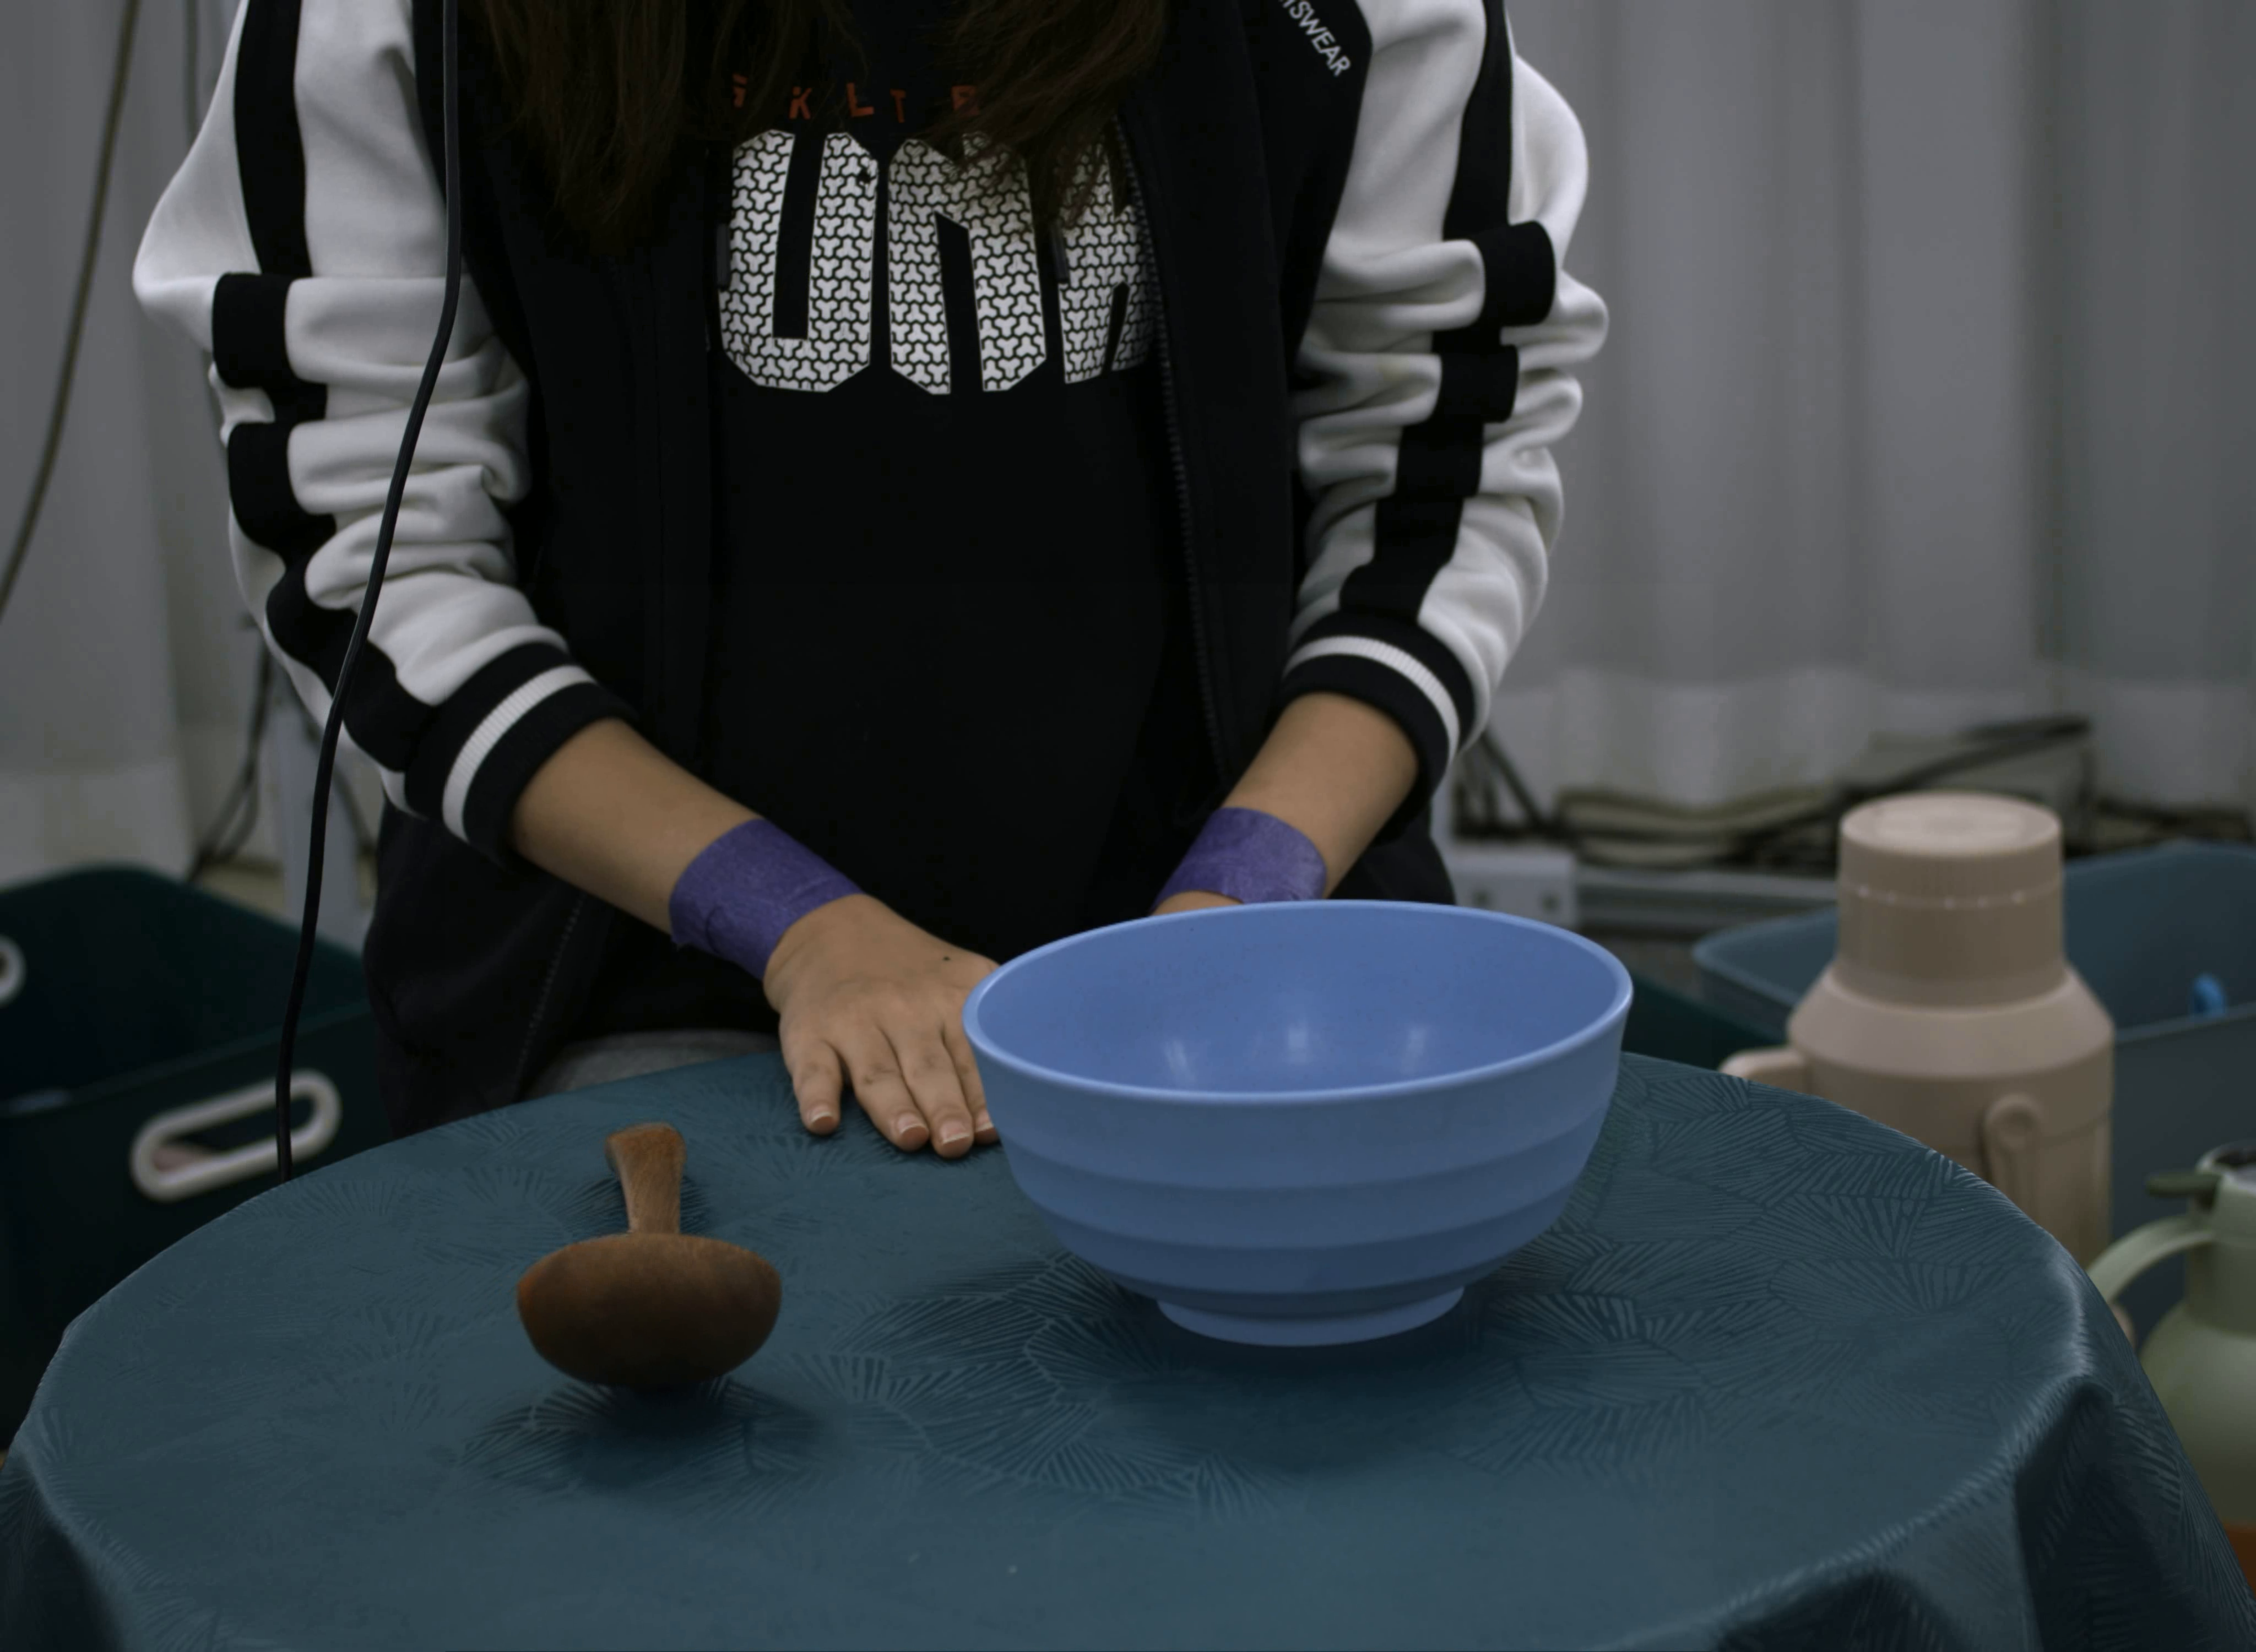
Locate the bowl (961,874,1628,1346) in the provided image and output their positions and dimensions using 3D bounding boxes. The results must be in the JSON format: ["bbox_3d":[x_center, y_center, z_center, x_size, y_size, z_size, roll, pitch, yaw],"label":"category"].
[{"bbox_3d":[0.054,0.091,1.611,0.196,0.095,0.198,-7,18,2],"label":"bowl"}]

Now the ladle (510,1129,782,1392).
[{"bbox_3d":[-0.143,0.112,1.630,0.076,0.065,0.262,2,14,-5],"label":"ladle"}]
